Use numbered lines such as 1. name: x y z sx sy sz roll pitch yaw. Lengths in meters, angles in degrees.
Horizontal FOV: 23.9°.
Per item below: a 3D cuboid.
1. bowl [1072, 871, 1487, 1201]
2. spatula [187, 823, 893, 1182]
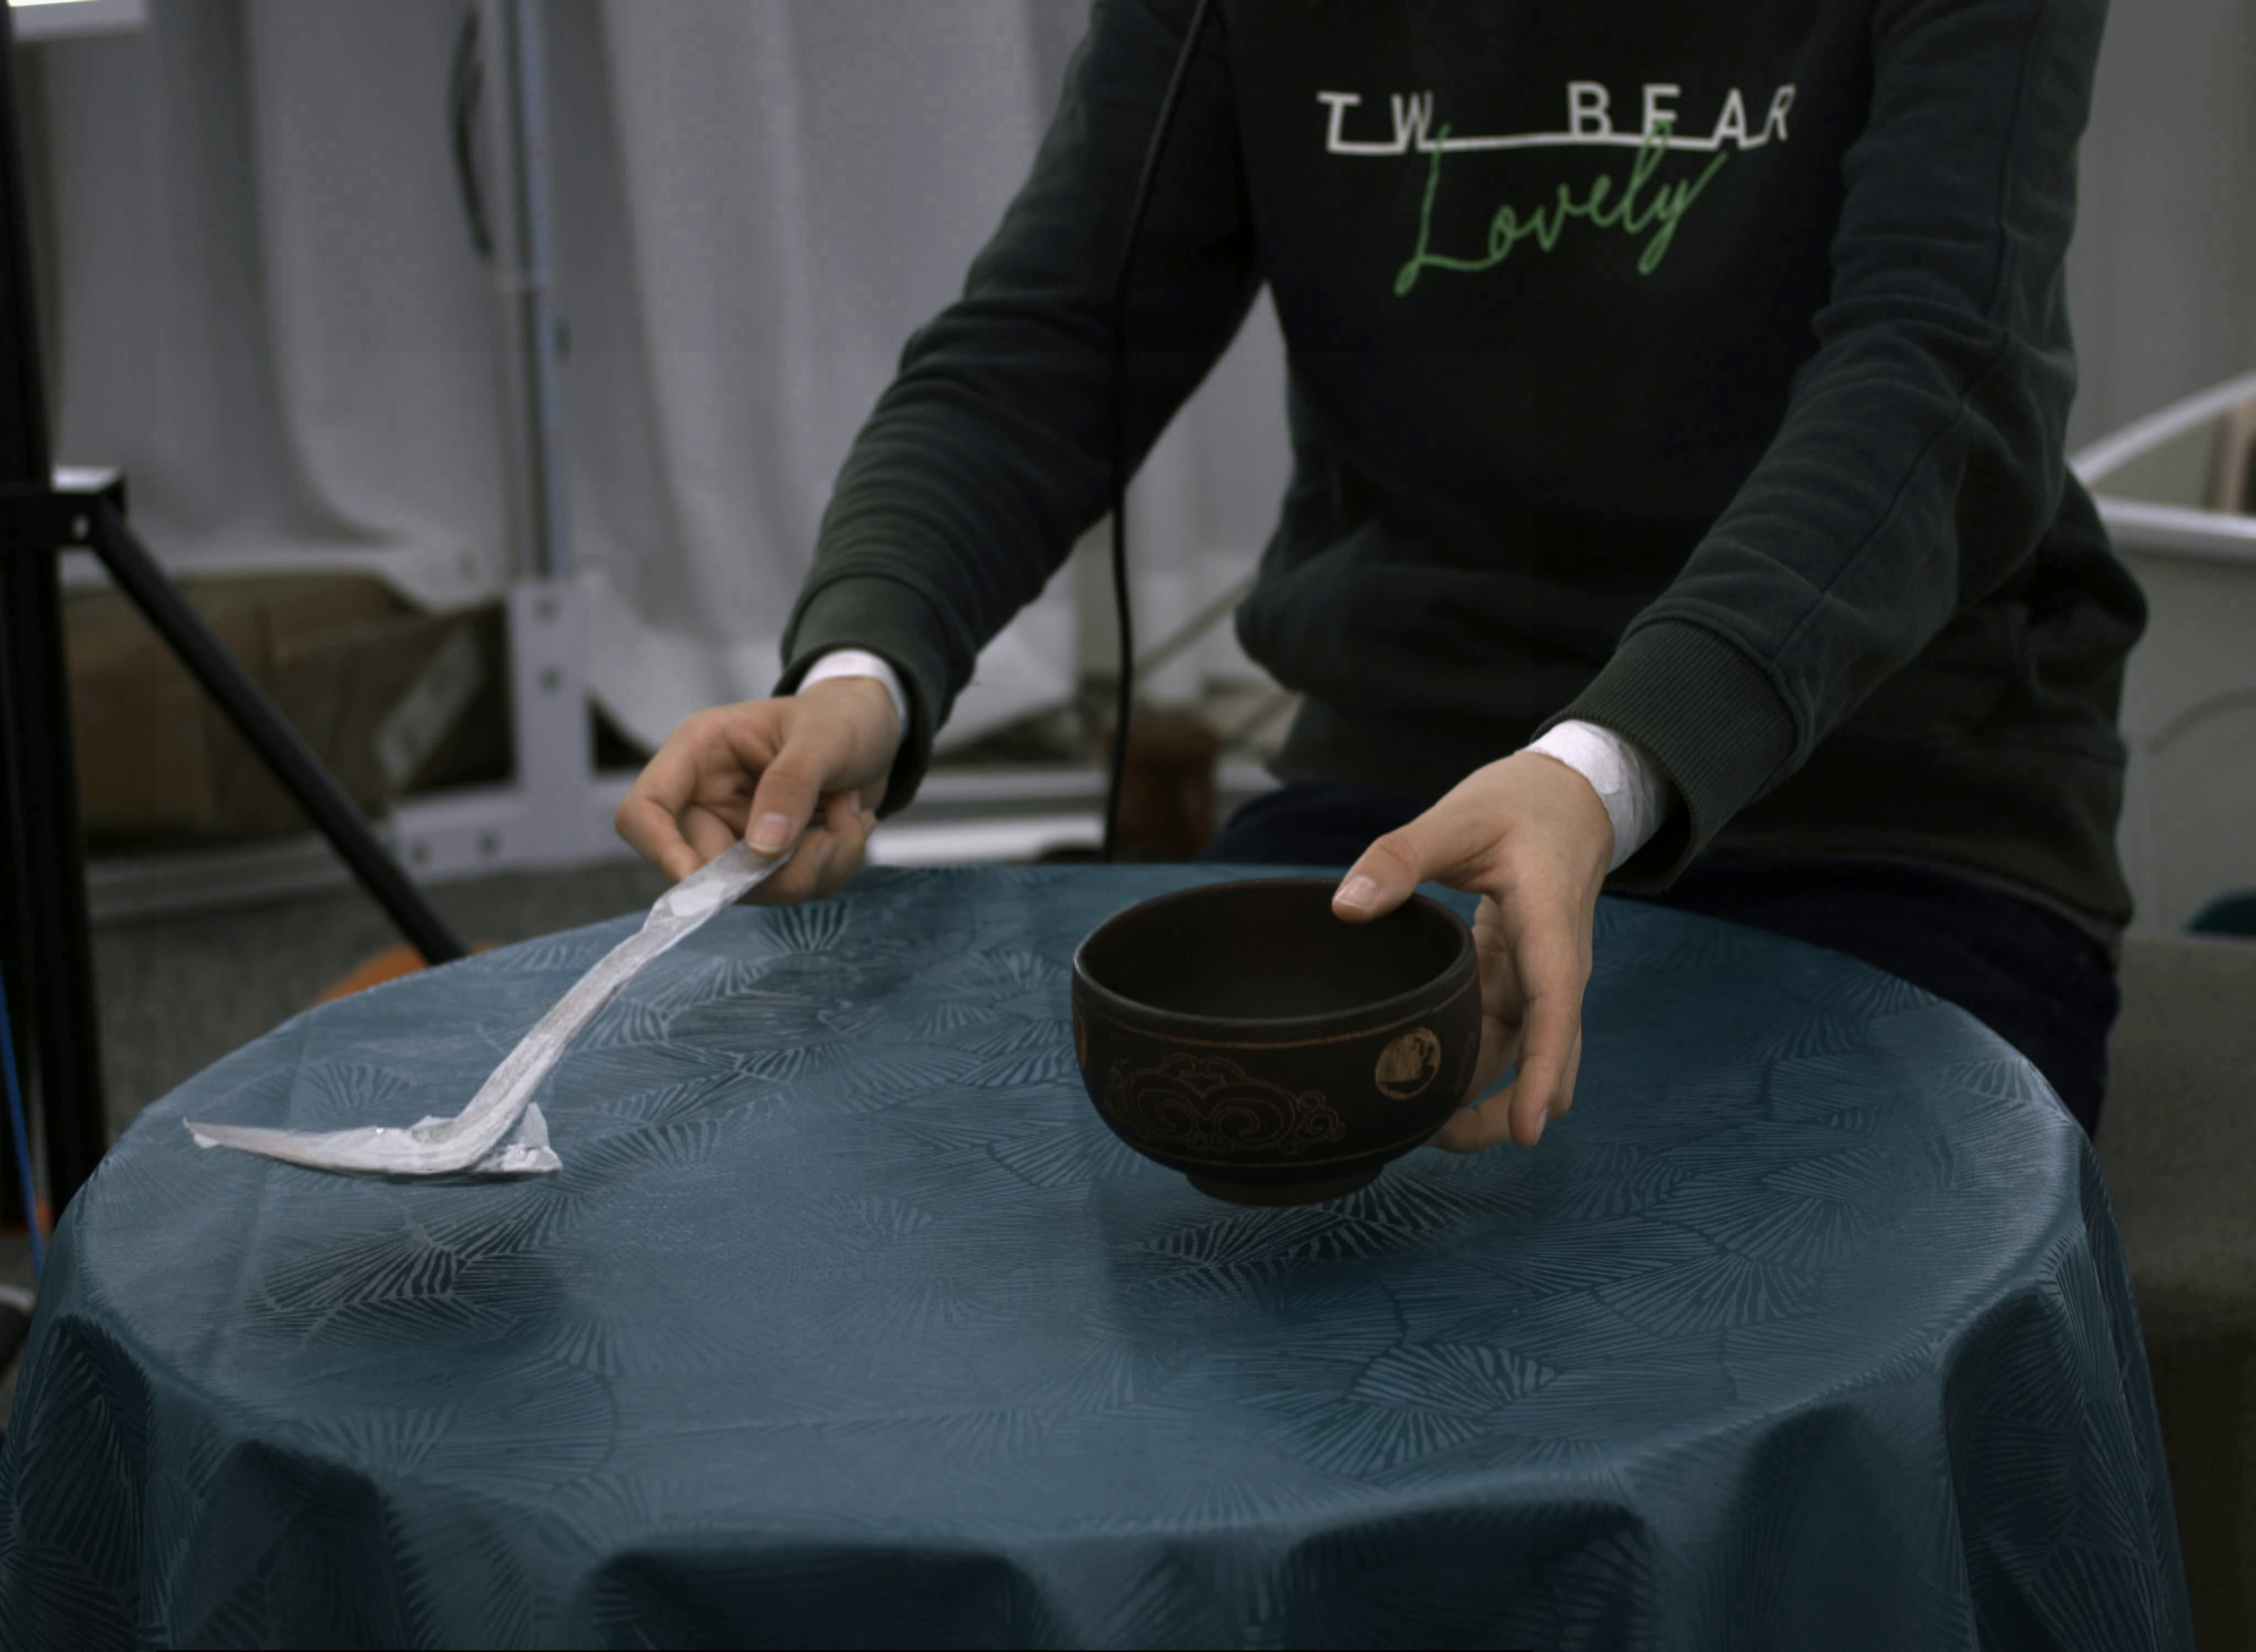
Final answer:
1. bowl: 0.043 0.064 1.505 0.117 0.070 0.119 -2 19 -1
2. spatula: -0.156 0.044 1.618 0.100 0.044 0.361 4 22 22
